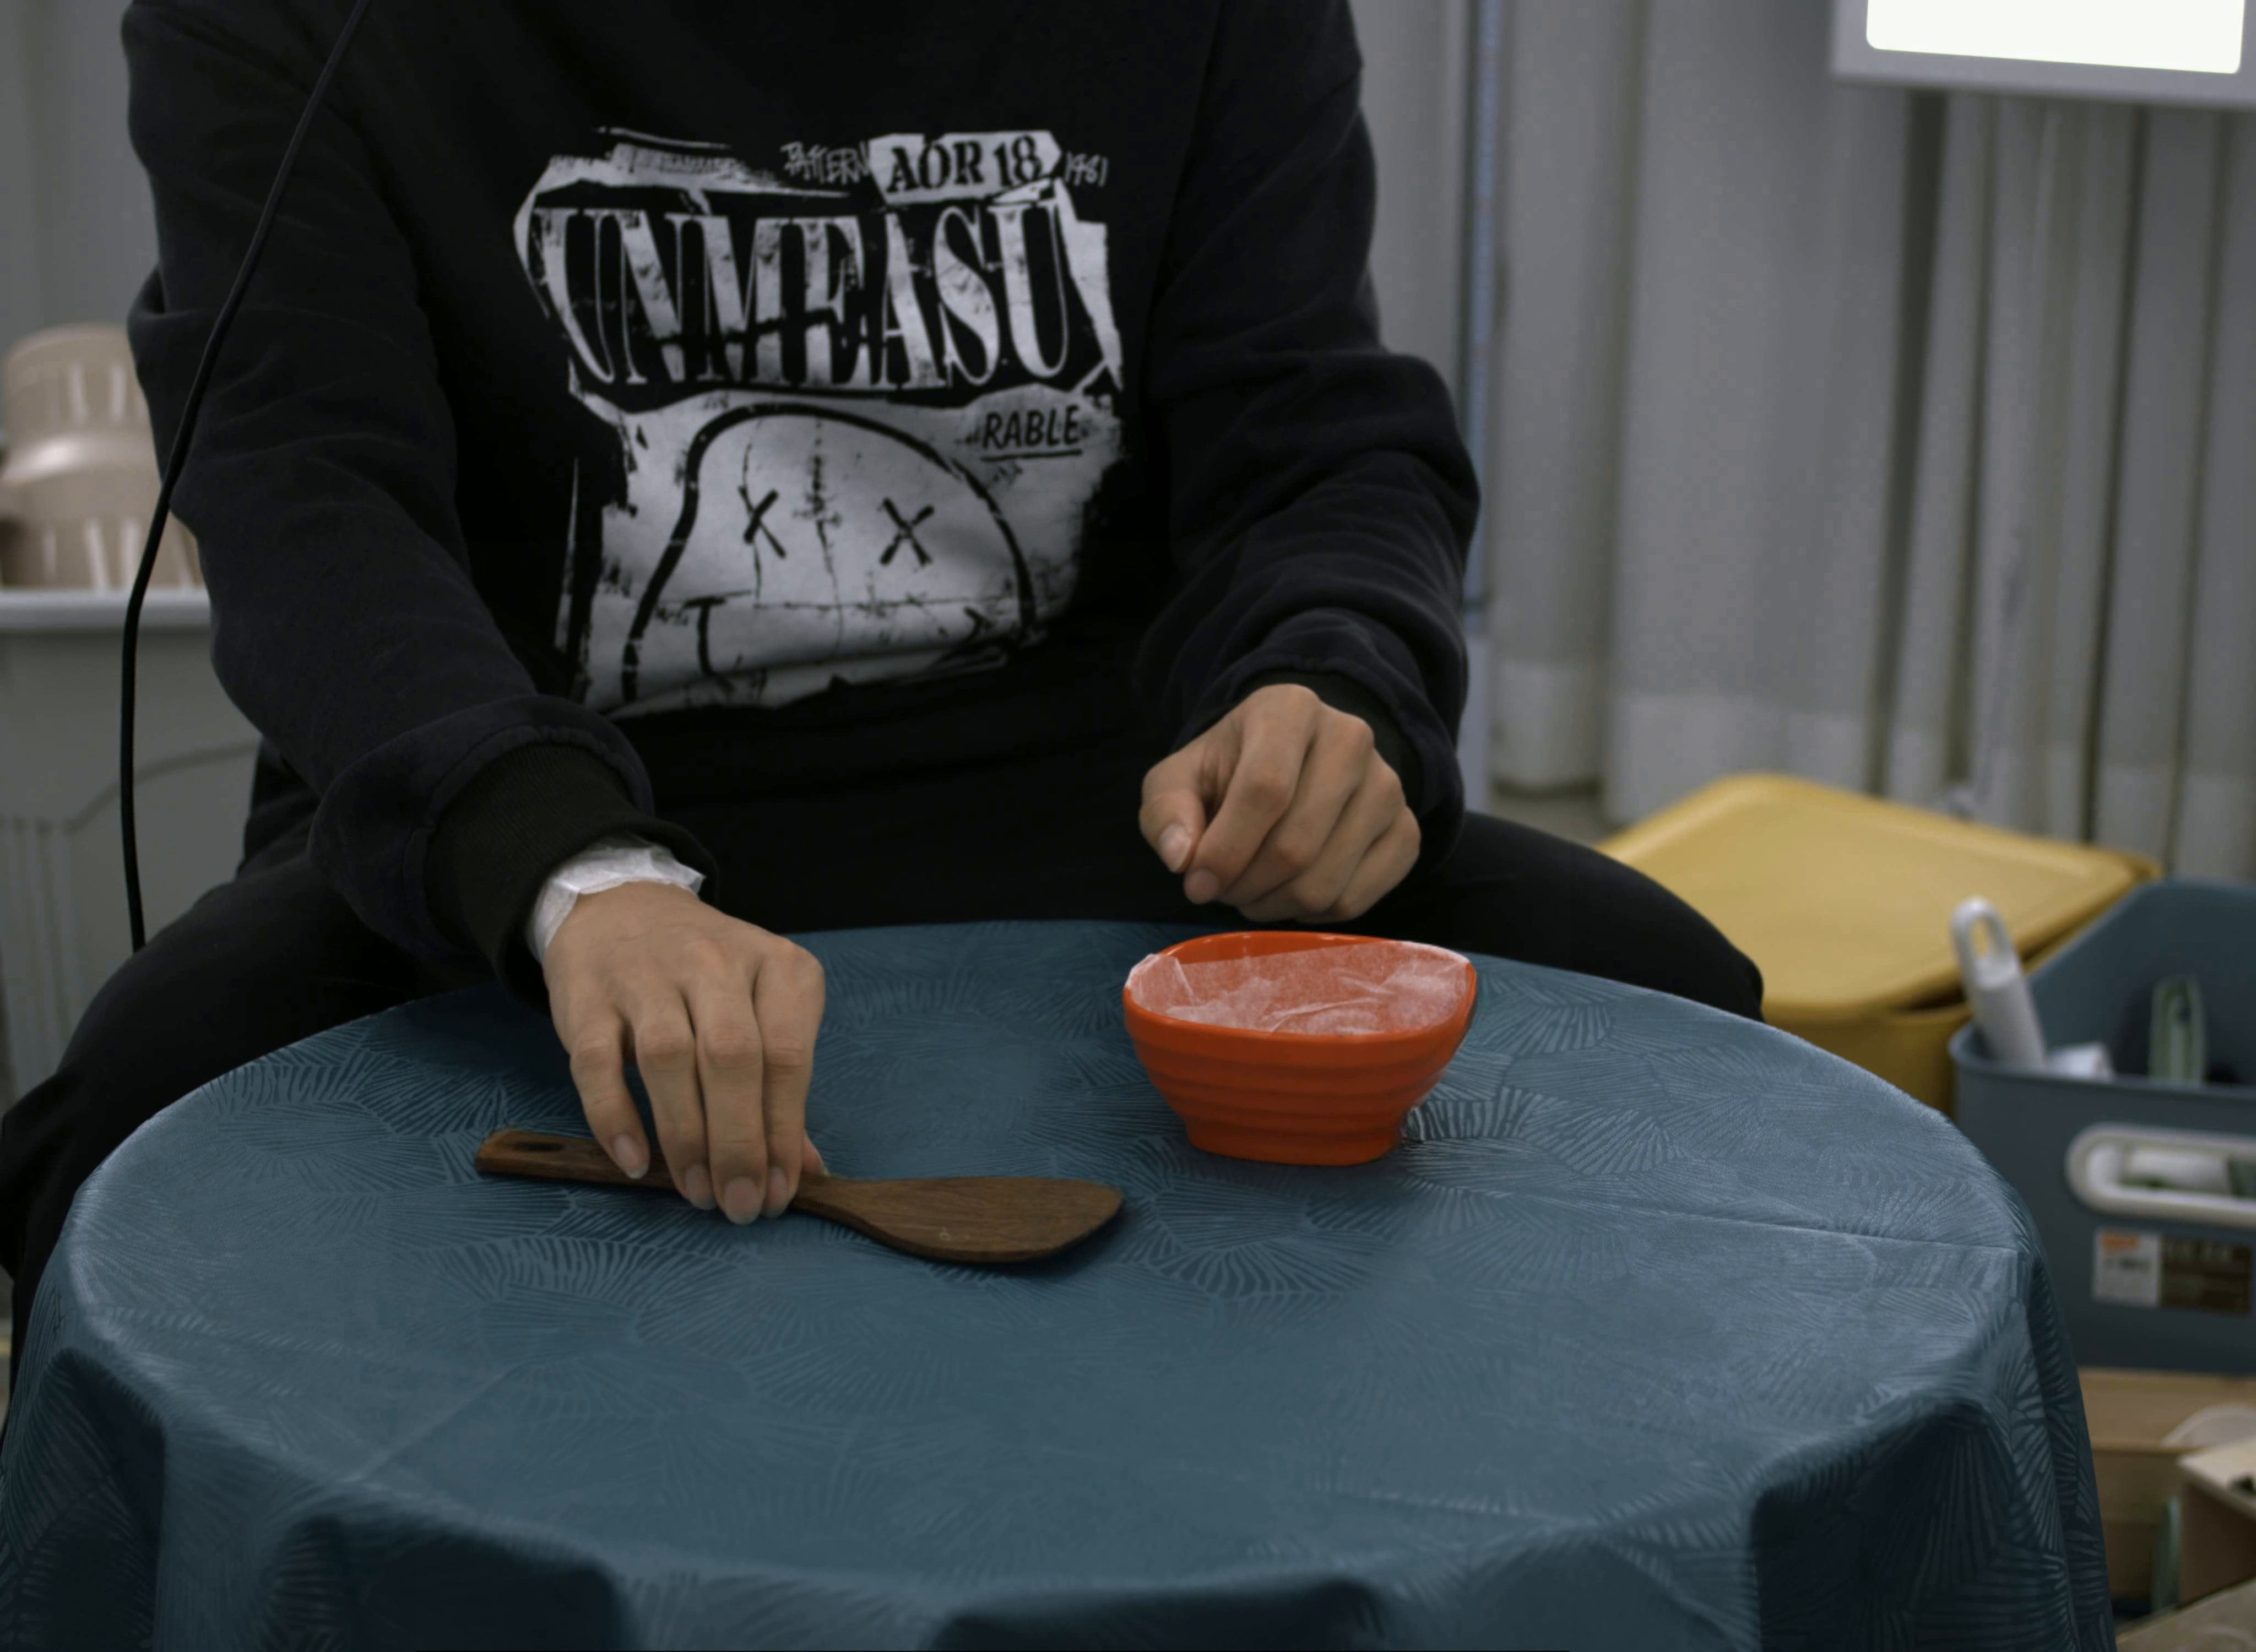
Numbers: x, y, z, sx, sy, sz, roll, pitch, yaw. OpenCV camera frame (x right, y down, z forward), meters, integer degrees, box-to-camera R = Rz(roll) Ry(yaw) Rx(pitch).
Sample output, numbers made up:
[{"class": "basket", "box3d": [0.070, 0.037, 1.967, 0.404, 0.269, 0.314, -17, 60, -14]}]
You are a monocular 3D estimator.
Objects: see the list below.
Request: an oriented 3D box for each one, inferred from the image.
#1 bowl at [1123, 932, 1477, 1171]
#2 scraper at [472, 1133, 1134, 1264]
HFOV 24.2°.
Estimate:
[{"class": "bowl", "box3d": [0.054, 0.074, 1.676, 0.118, 0.052, 0.118, 0, 17, 0]}, {"class": "scraper", "box3d": [-0.103, 0.111, 1.611, 0.209, 0.011, 0.076, 6, 15, 19]}]
